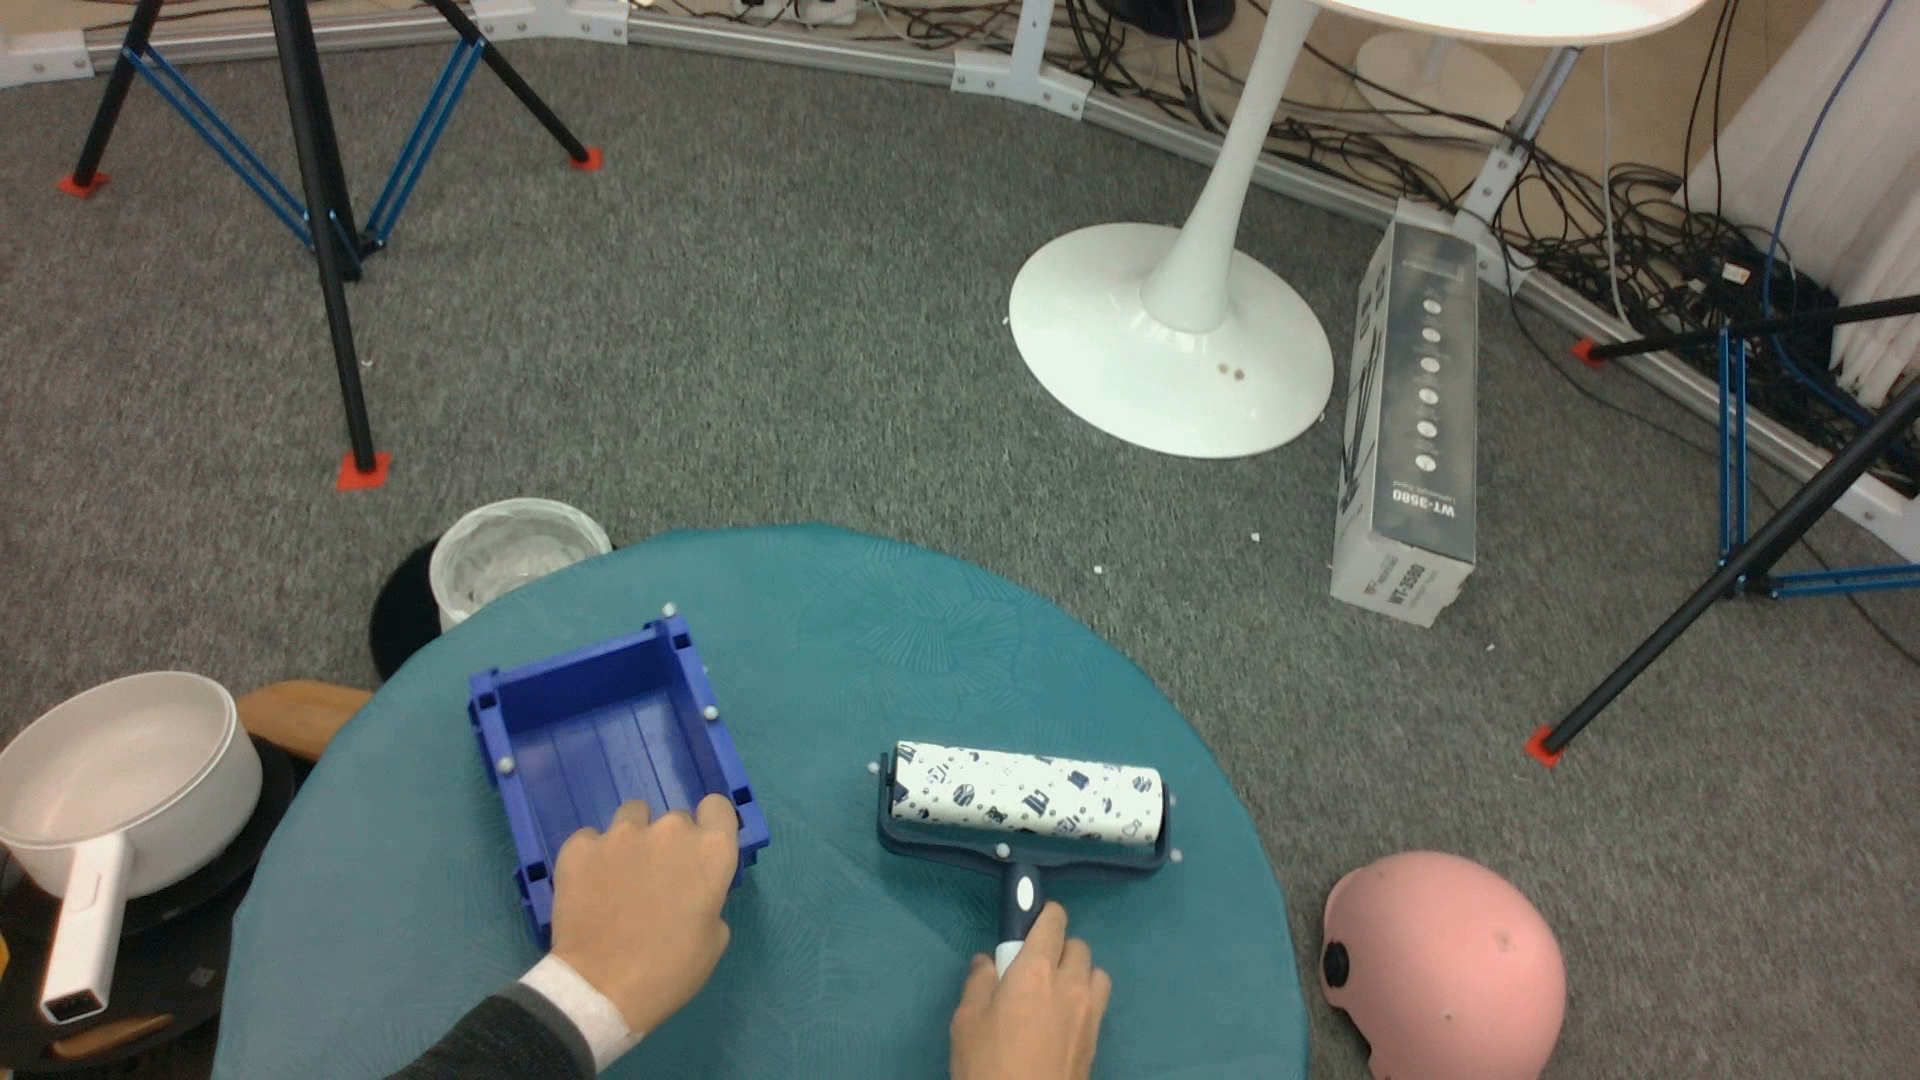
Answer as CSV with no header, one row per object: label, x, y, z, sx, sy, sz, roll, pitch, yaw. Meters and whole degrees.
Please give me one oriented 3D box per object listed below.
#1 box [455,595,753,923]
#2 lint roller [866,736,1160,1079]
box,-0.206,0.116,0.776,0.125,0.081,0.180,-16,60,-20
lint roller,0.031,0.230,0.766,0.176,0.050,0.248,6,54,-8
